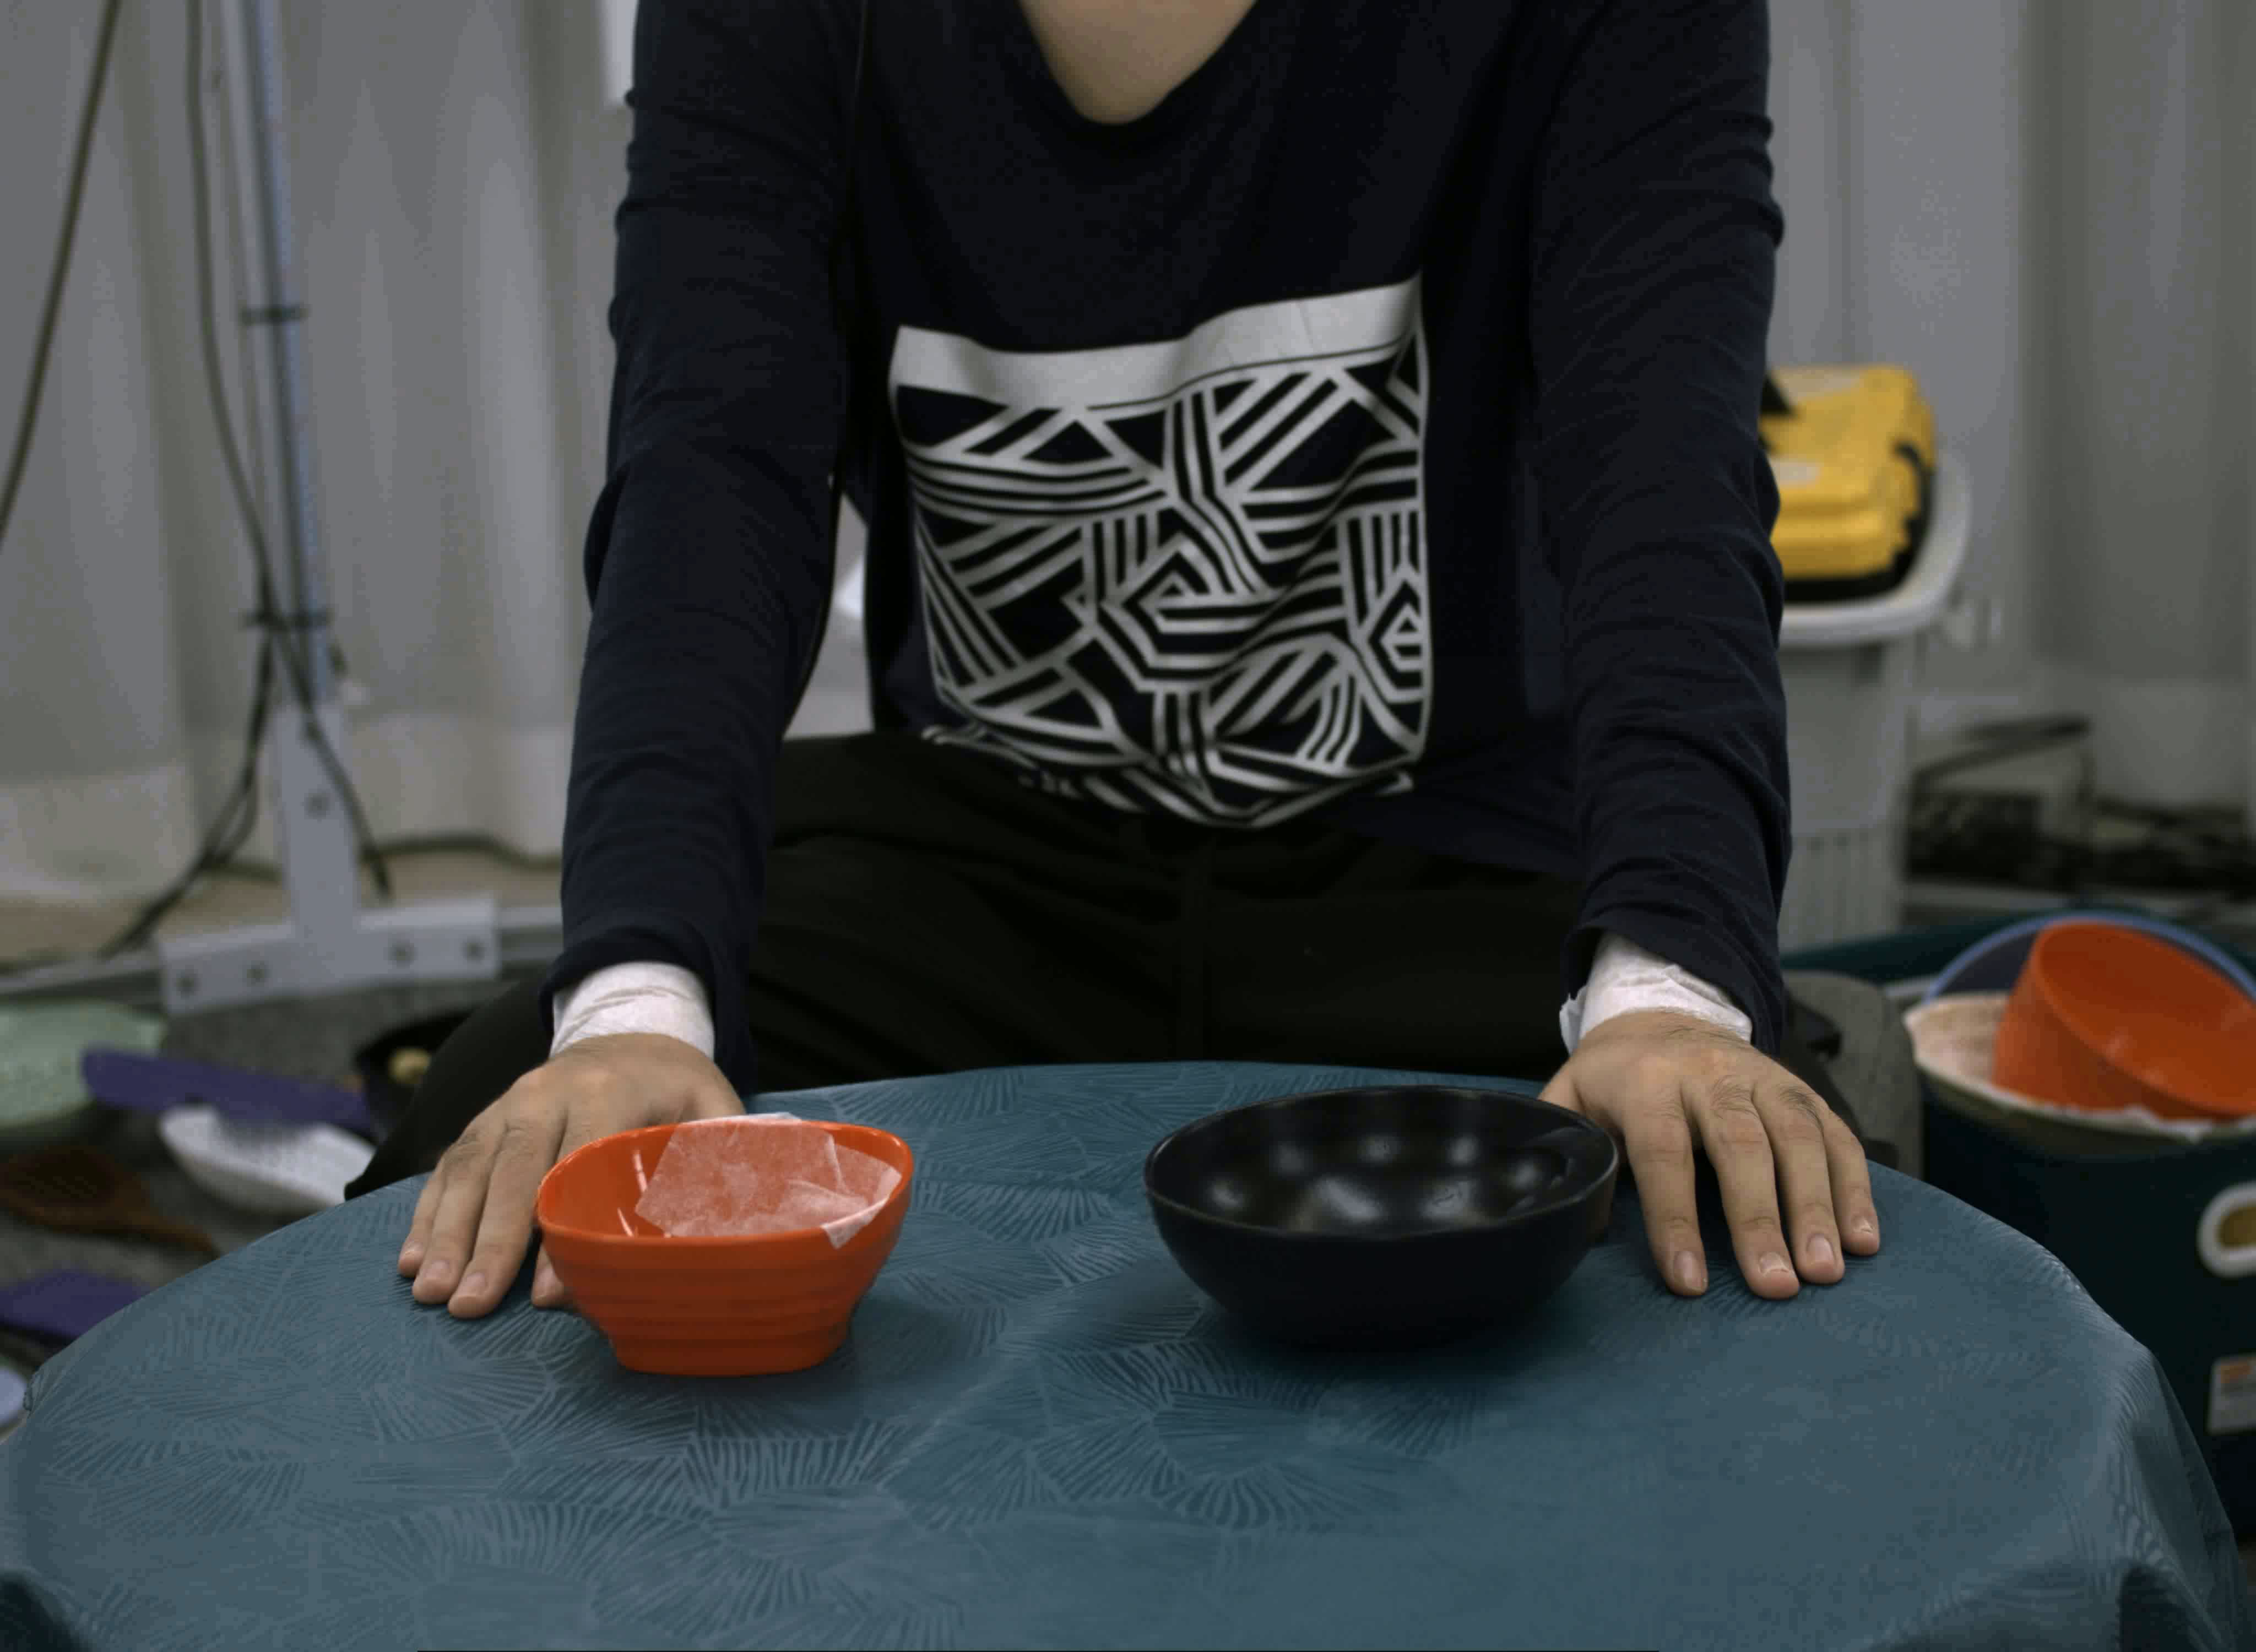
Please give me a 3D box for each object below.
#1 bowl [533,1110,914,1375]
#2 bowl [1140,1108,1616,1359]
[{"bbox_3d":[-0.116,0.125,1.599,0.118,0.051,0.120,-4,16,1],"label":"bowl"},{"bbox_3d":[0.074,0.122,1.592,0.139,0.049,0.140,-2,10,0],"label":"bowl"}]
